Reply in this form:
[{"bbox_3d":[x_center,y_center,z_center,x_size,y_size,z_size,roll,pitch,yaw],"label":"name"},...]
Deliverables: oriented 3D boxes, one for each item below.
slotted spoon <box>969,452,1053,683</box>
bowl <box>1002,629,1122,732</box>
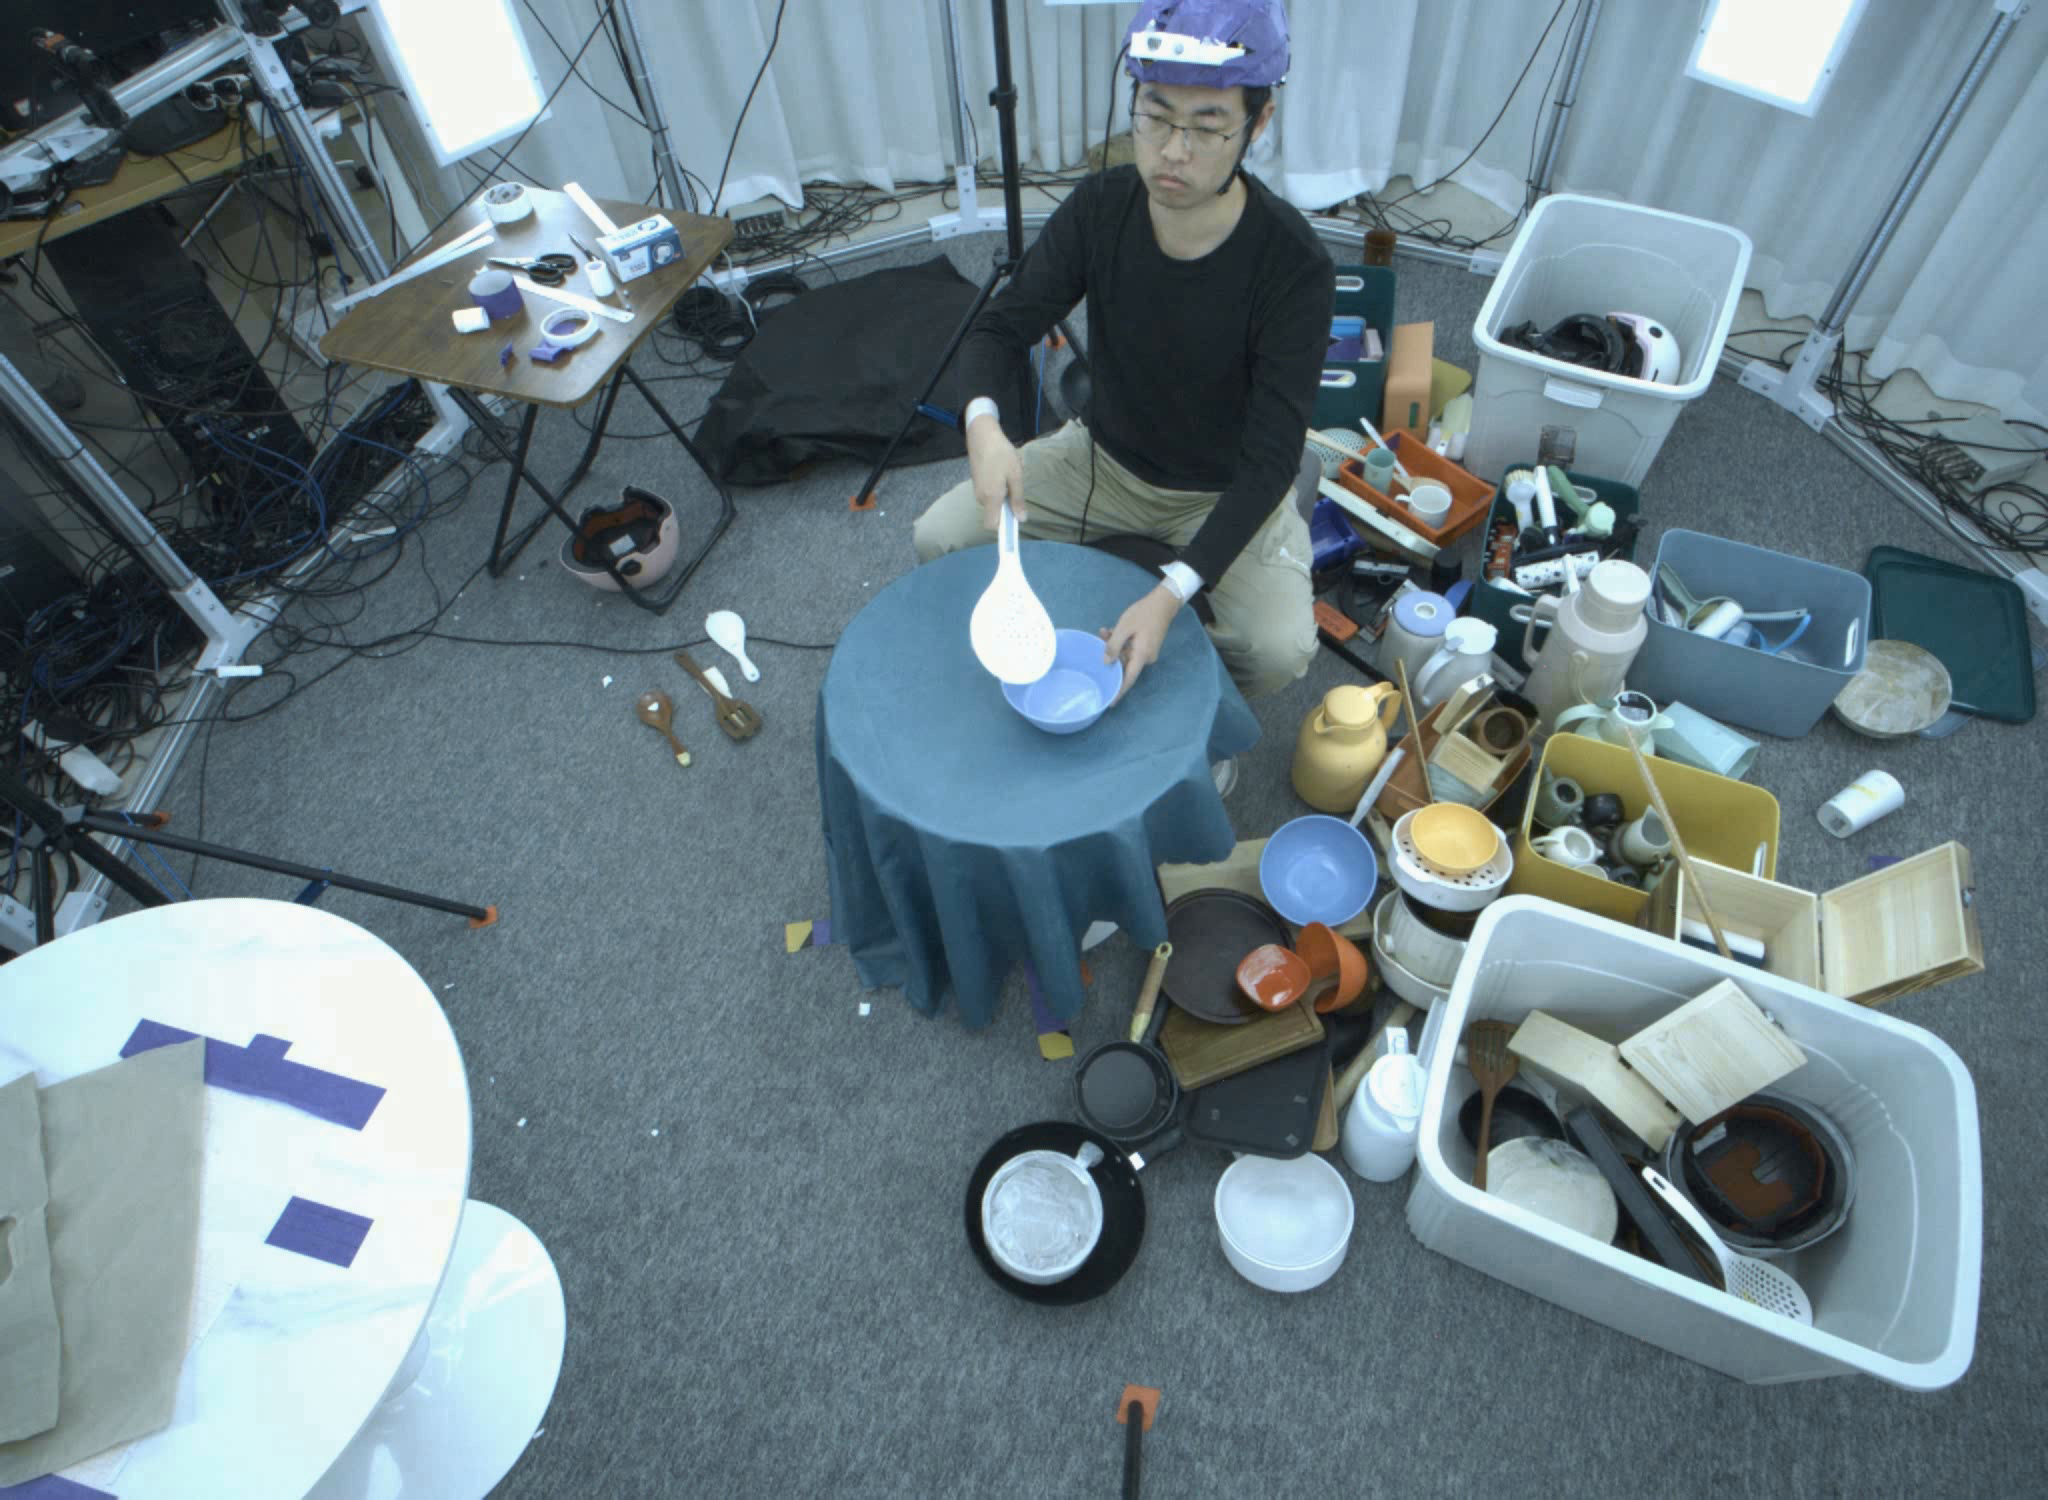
[{"bbox_3d":[-0.025,-0.264,1.742,0.139,0.045,0.348,4,82,-31],"label":"slotted spoon"},{"bbox_3d":[0.056,-0.092,1.808,0.176,0.071,0.174,0,54,2],"label":"bowl"}]
